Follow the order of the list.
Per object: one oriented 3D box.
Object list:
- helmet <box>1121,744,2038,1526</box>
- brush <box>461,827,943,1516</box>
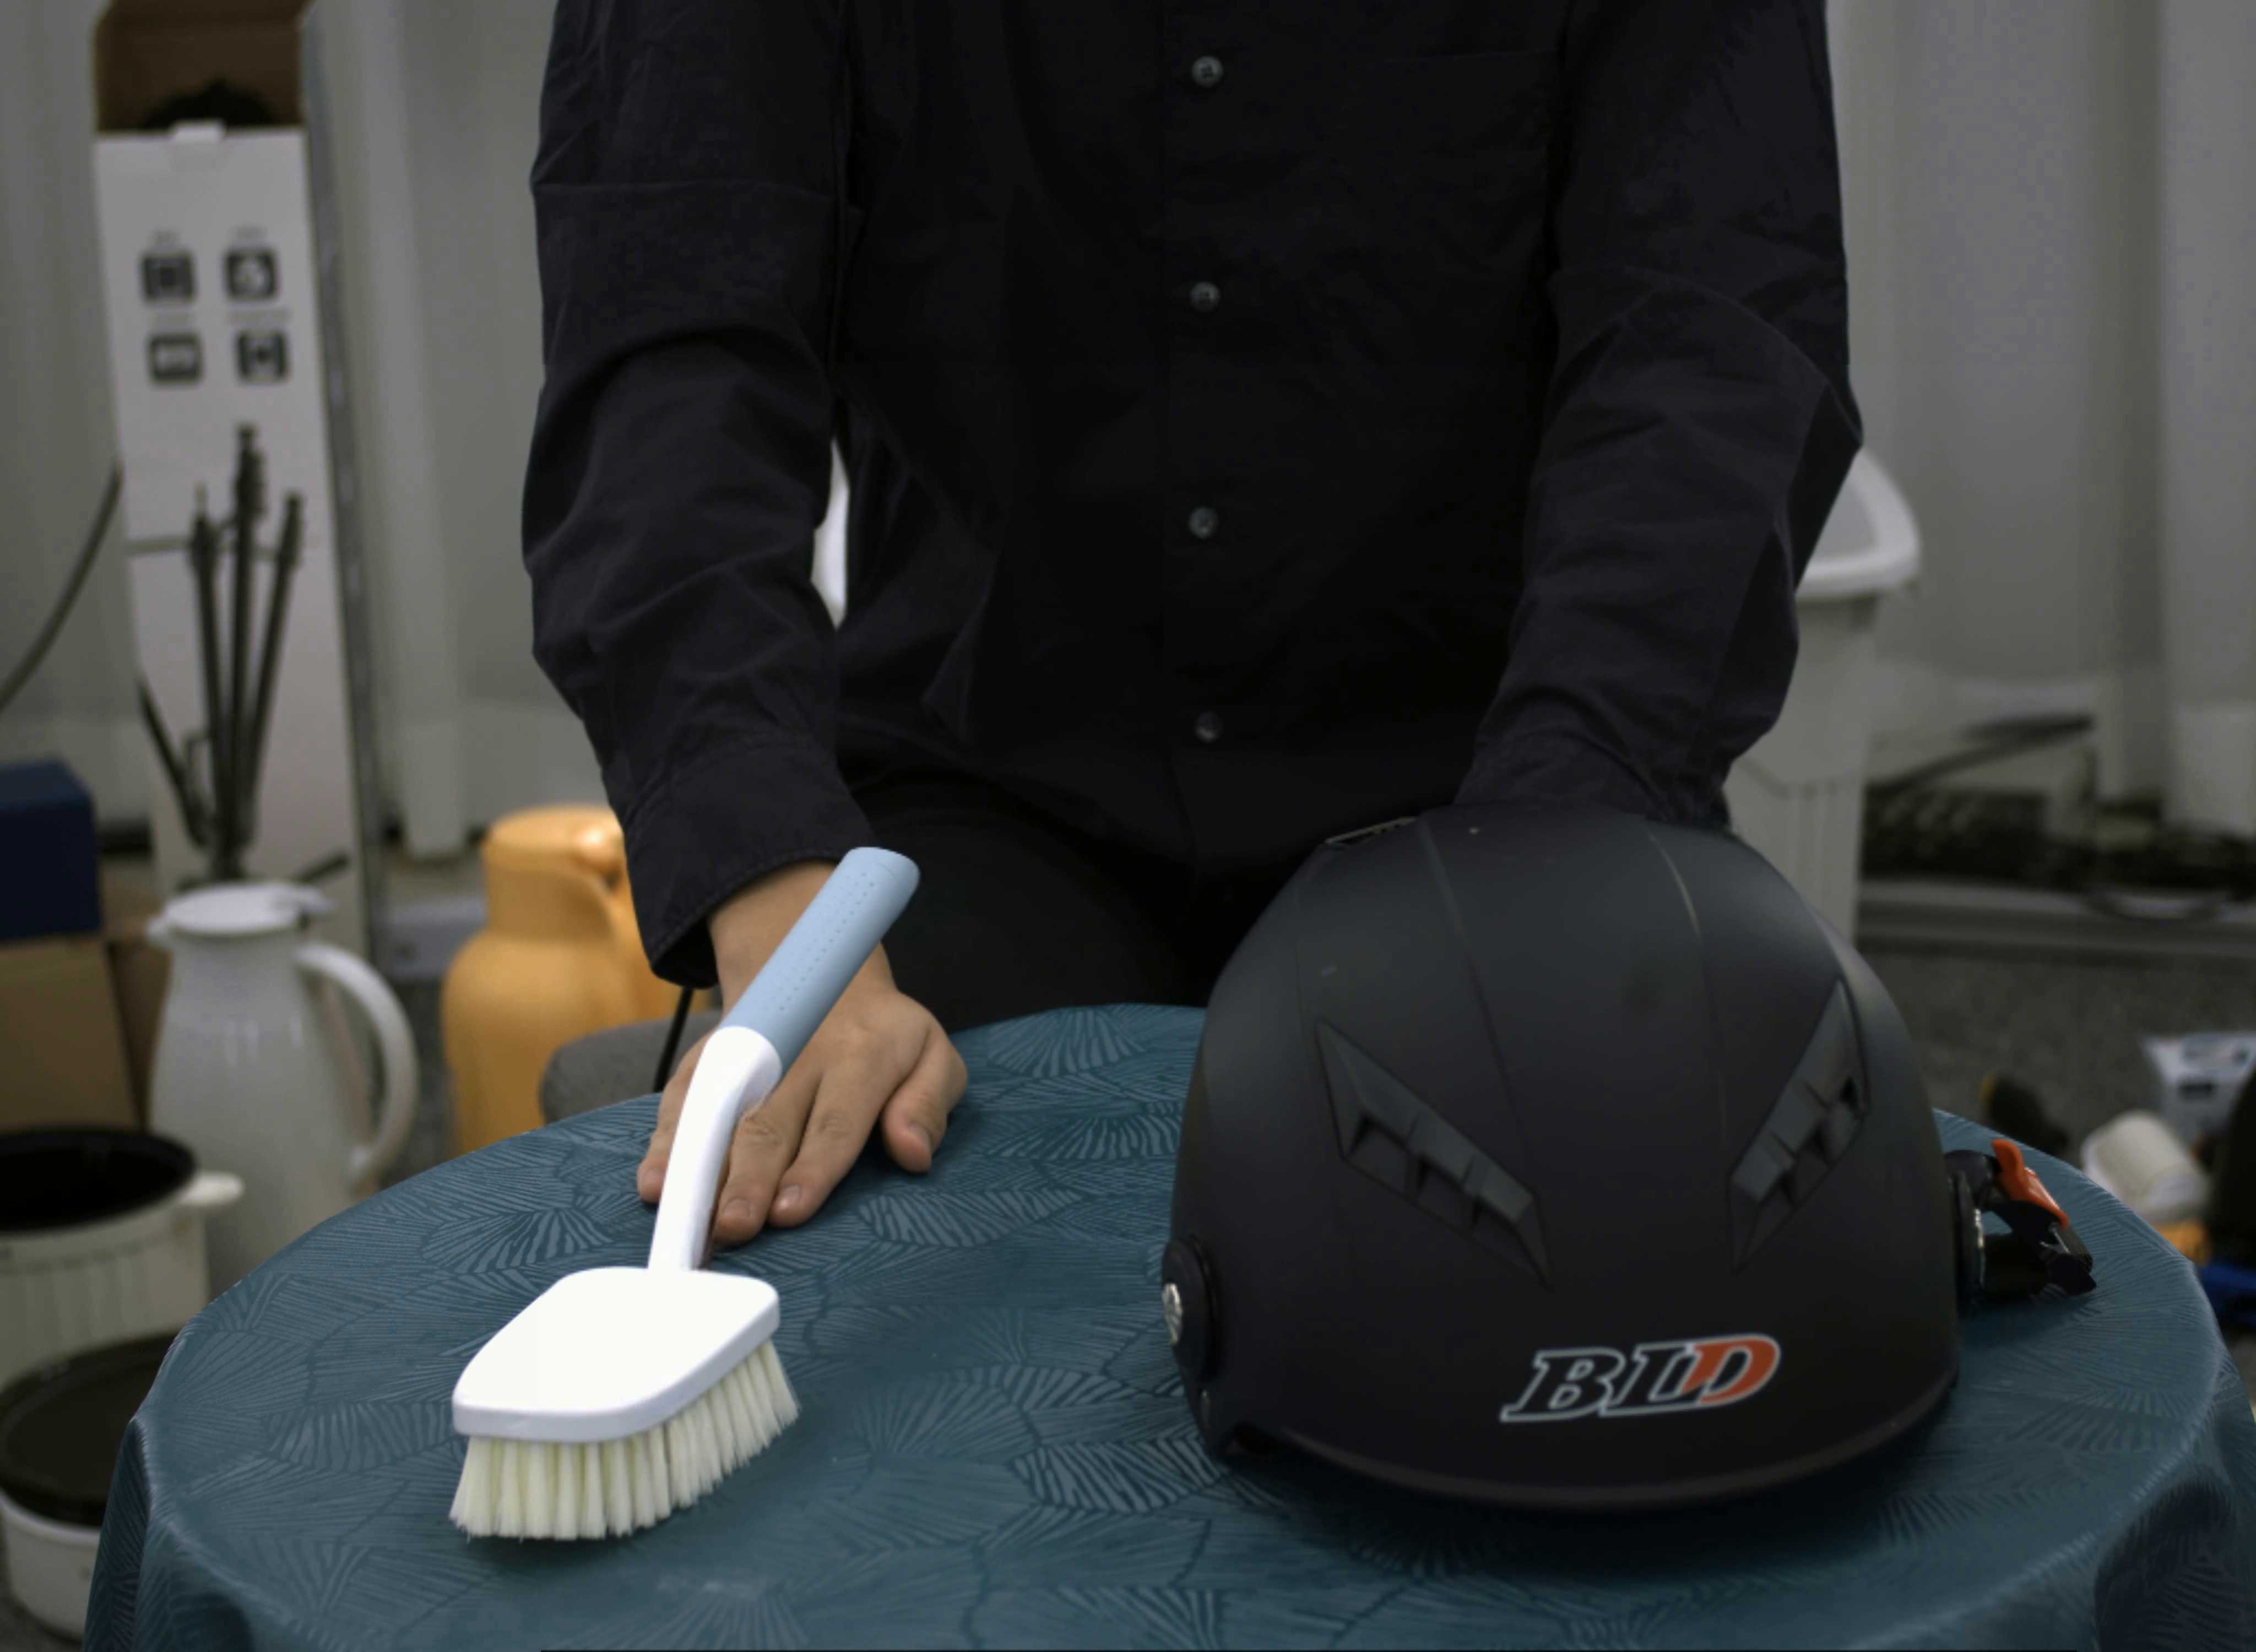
[{"bbox_3d":[0.120,0.076,1.521,0.246,0.171,0.279,-5,18,-4],"label":"helmet"},{"bbox_3d":[-0.108,0.112,1.588,0.083,0.084,0.328,34,33,0],"label":"brush"}]
